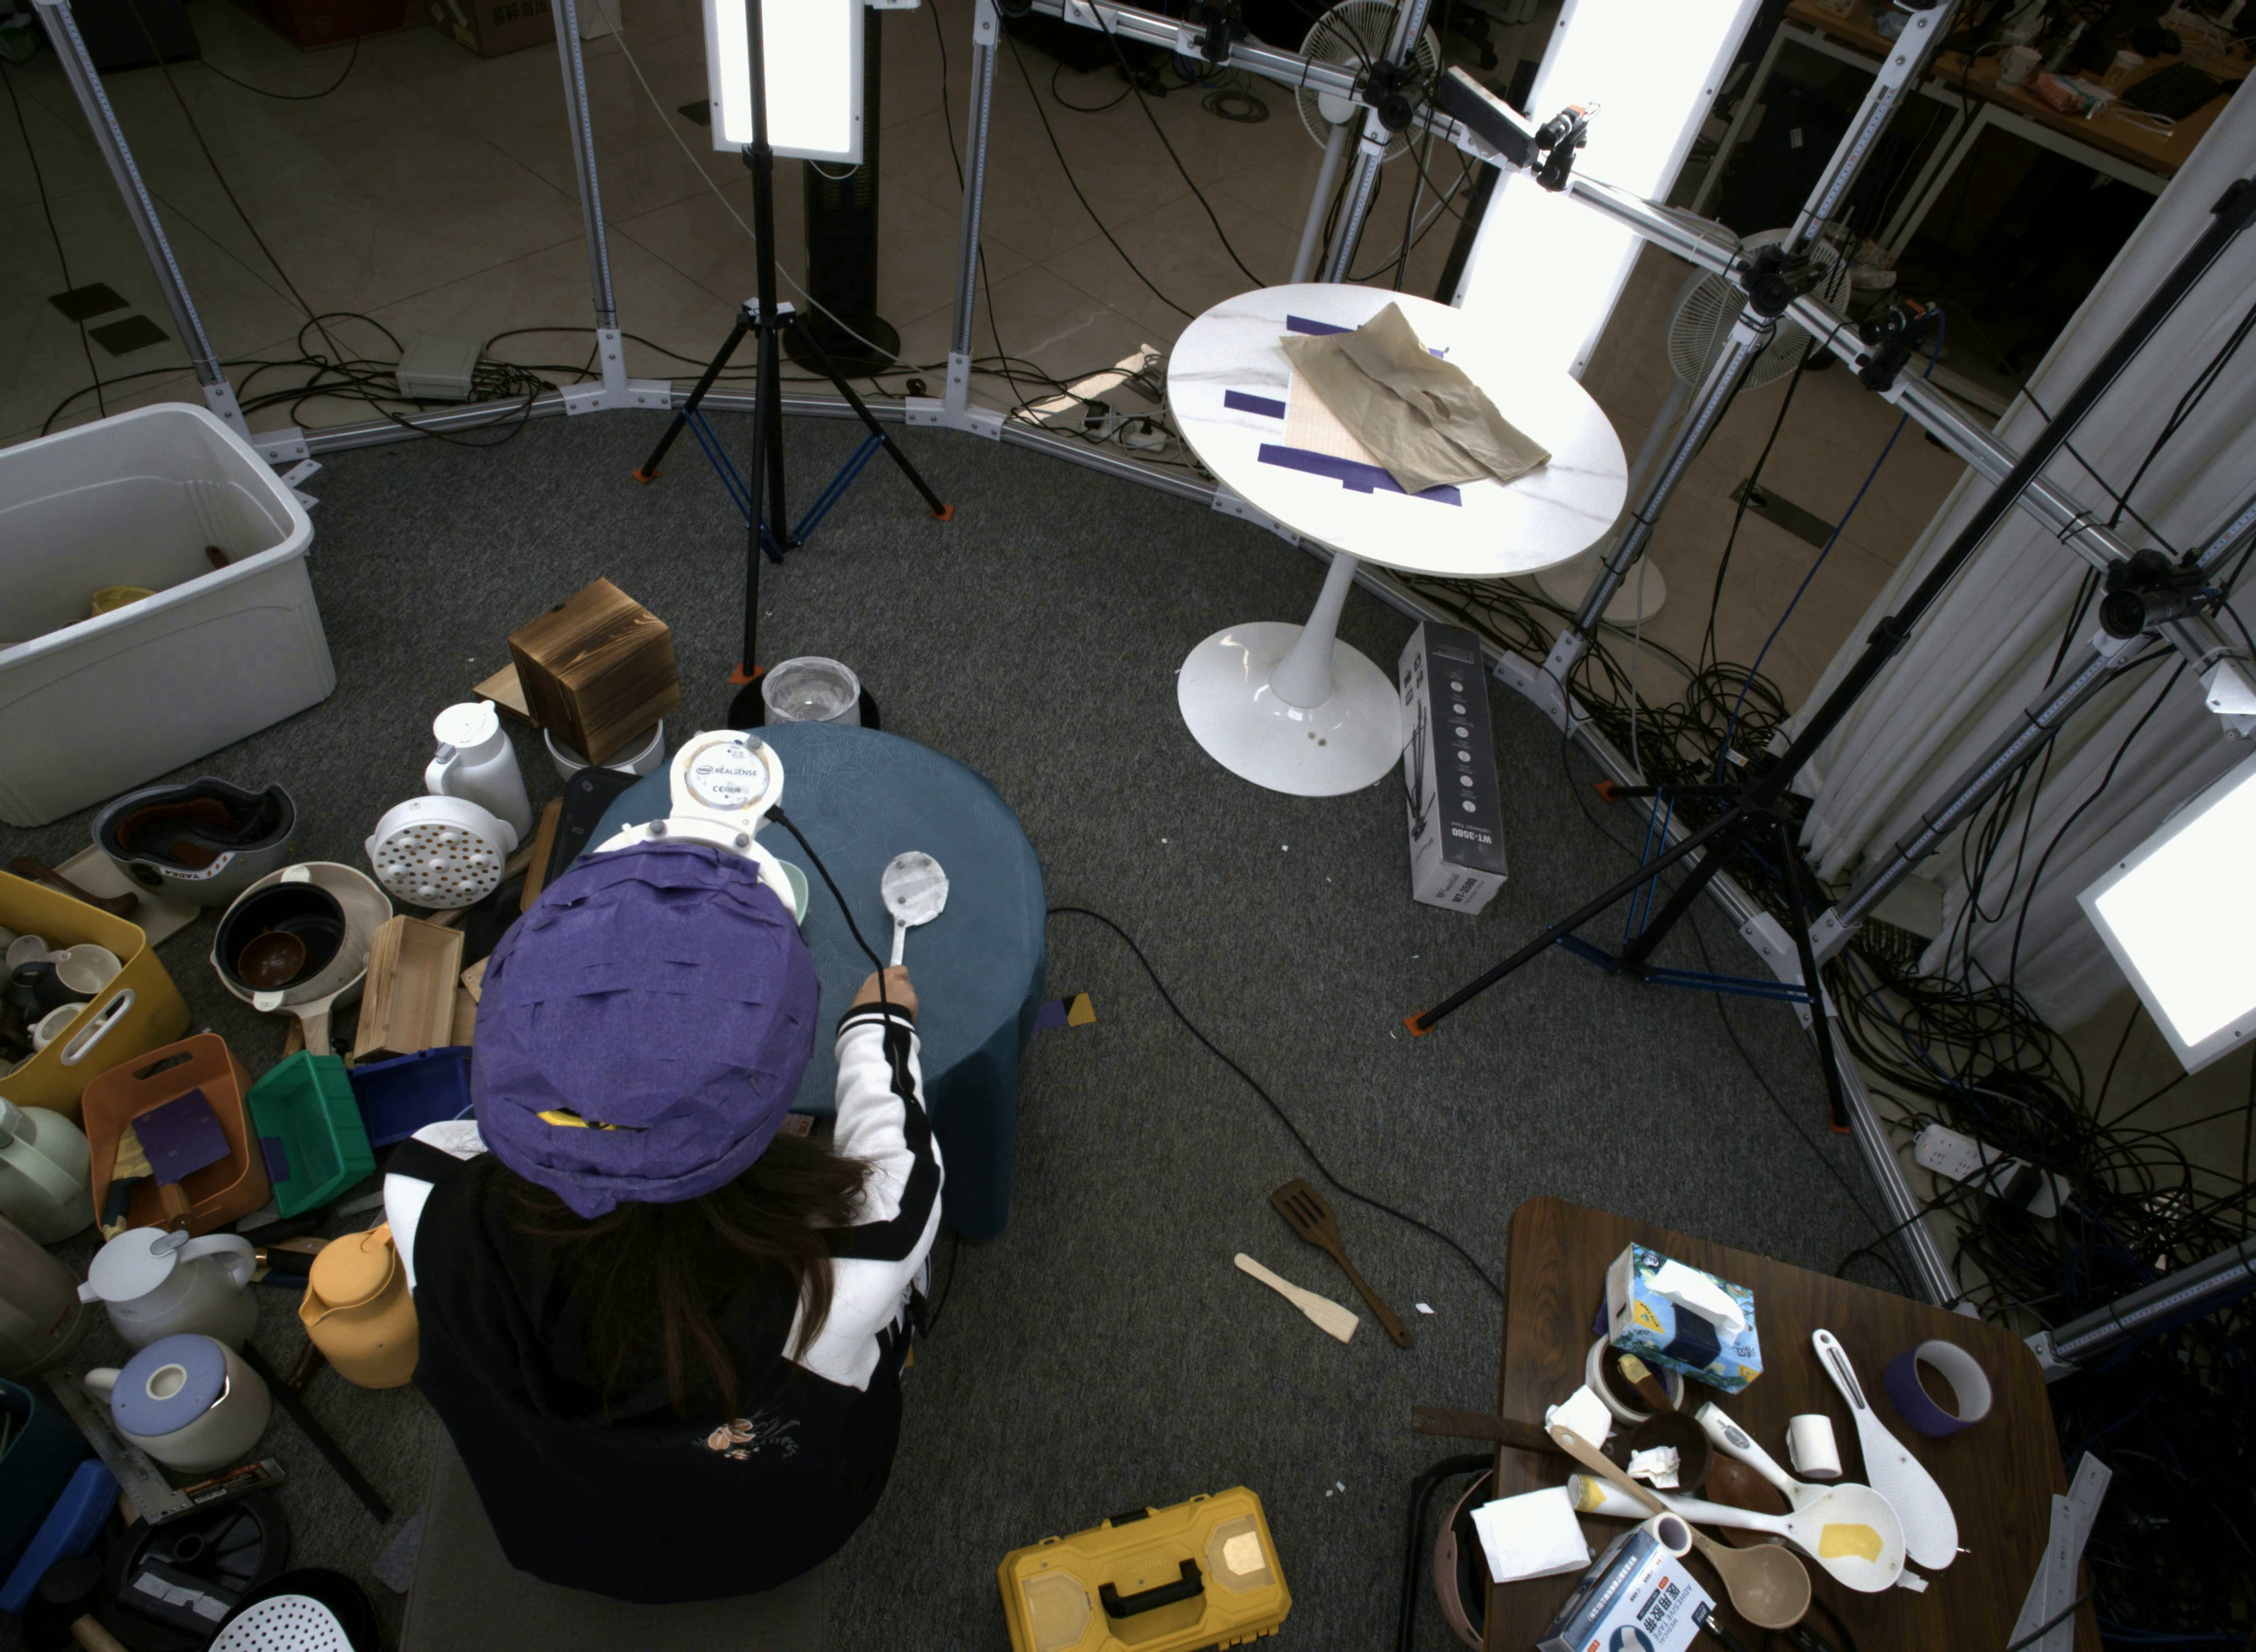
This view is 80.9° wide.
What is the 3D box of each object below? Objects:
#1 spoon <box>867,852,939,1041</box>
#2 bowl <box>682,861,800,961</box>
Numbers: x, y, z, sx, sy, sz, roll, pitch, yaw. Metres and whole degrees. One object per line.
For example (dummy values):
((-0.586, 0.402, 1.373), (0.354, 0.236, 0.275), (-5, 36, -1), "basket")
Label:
((-0.285, 0.139, 1.582), (0.103, 0.059, 0.271), (29, 33, -23), "spoon")
((-0.472, 0.112, 1.586), (0.151, 0.060, 0.148), (8, 48, -7), "bowl")
